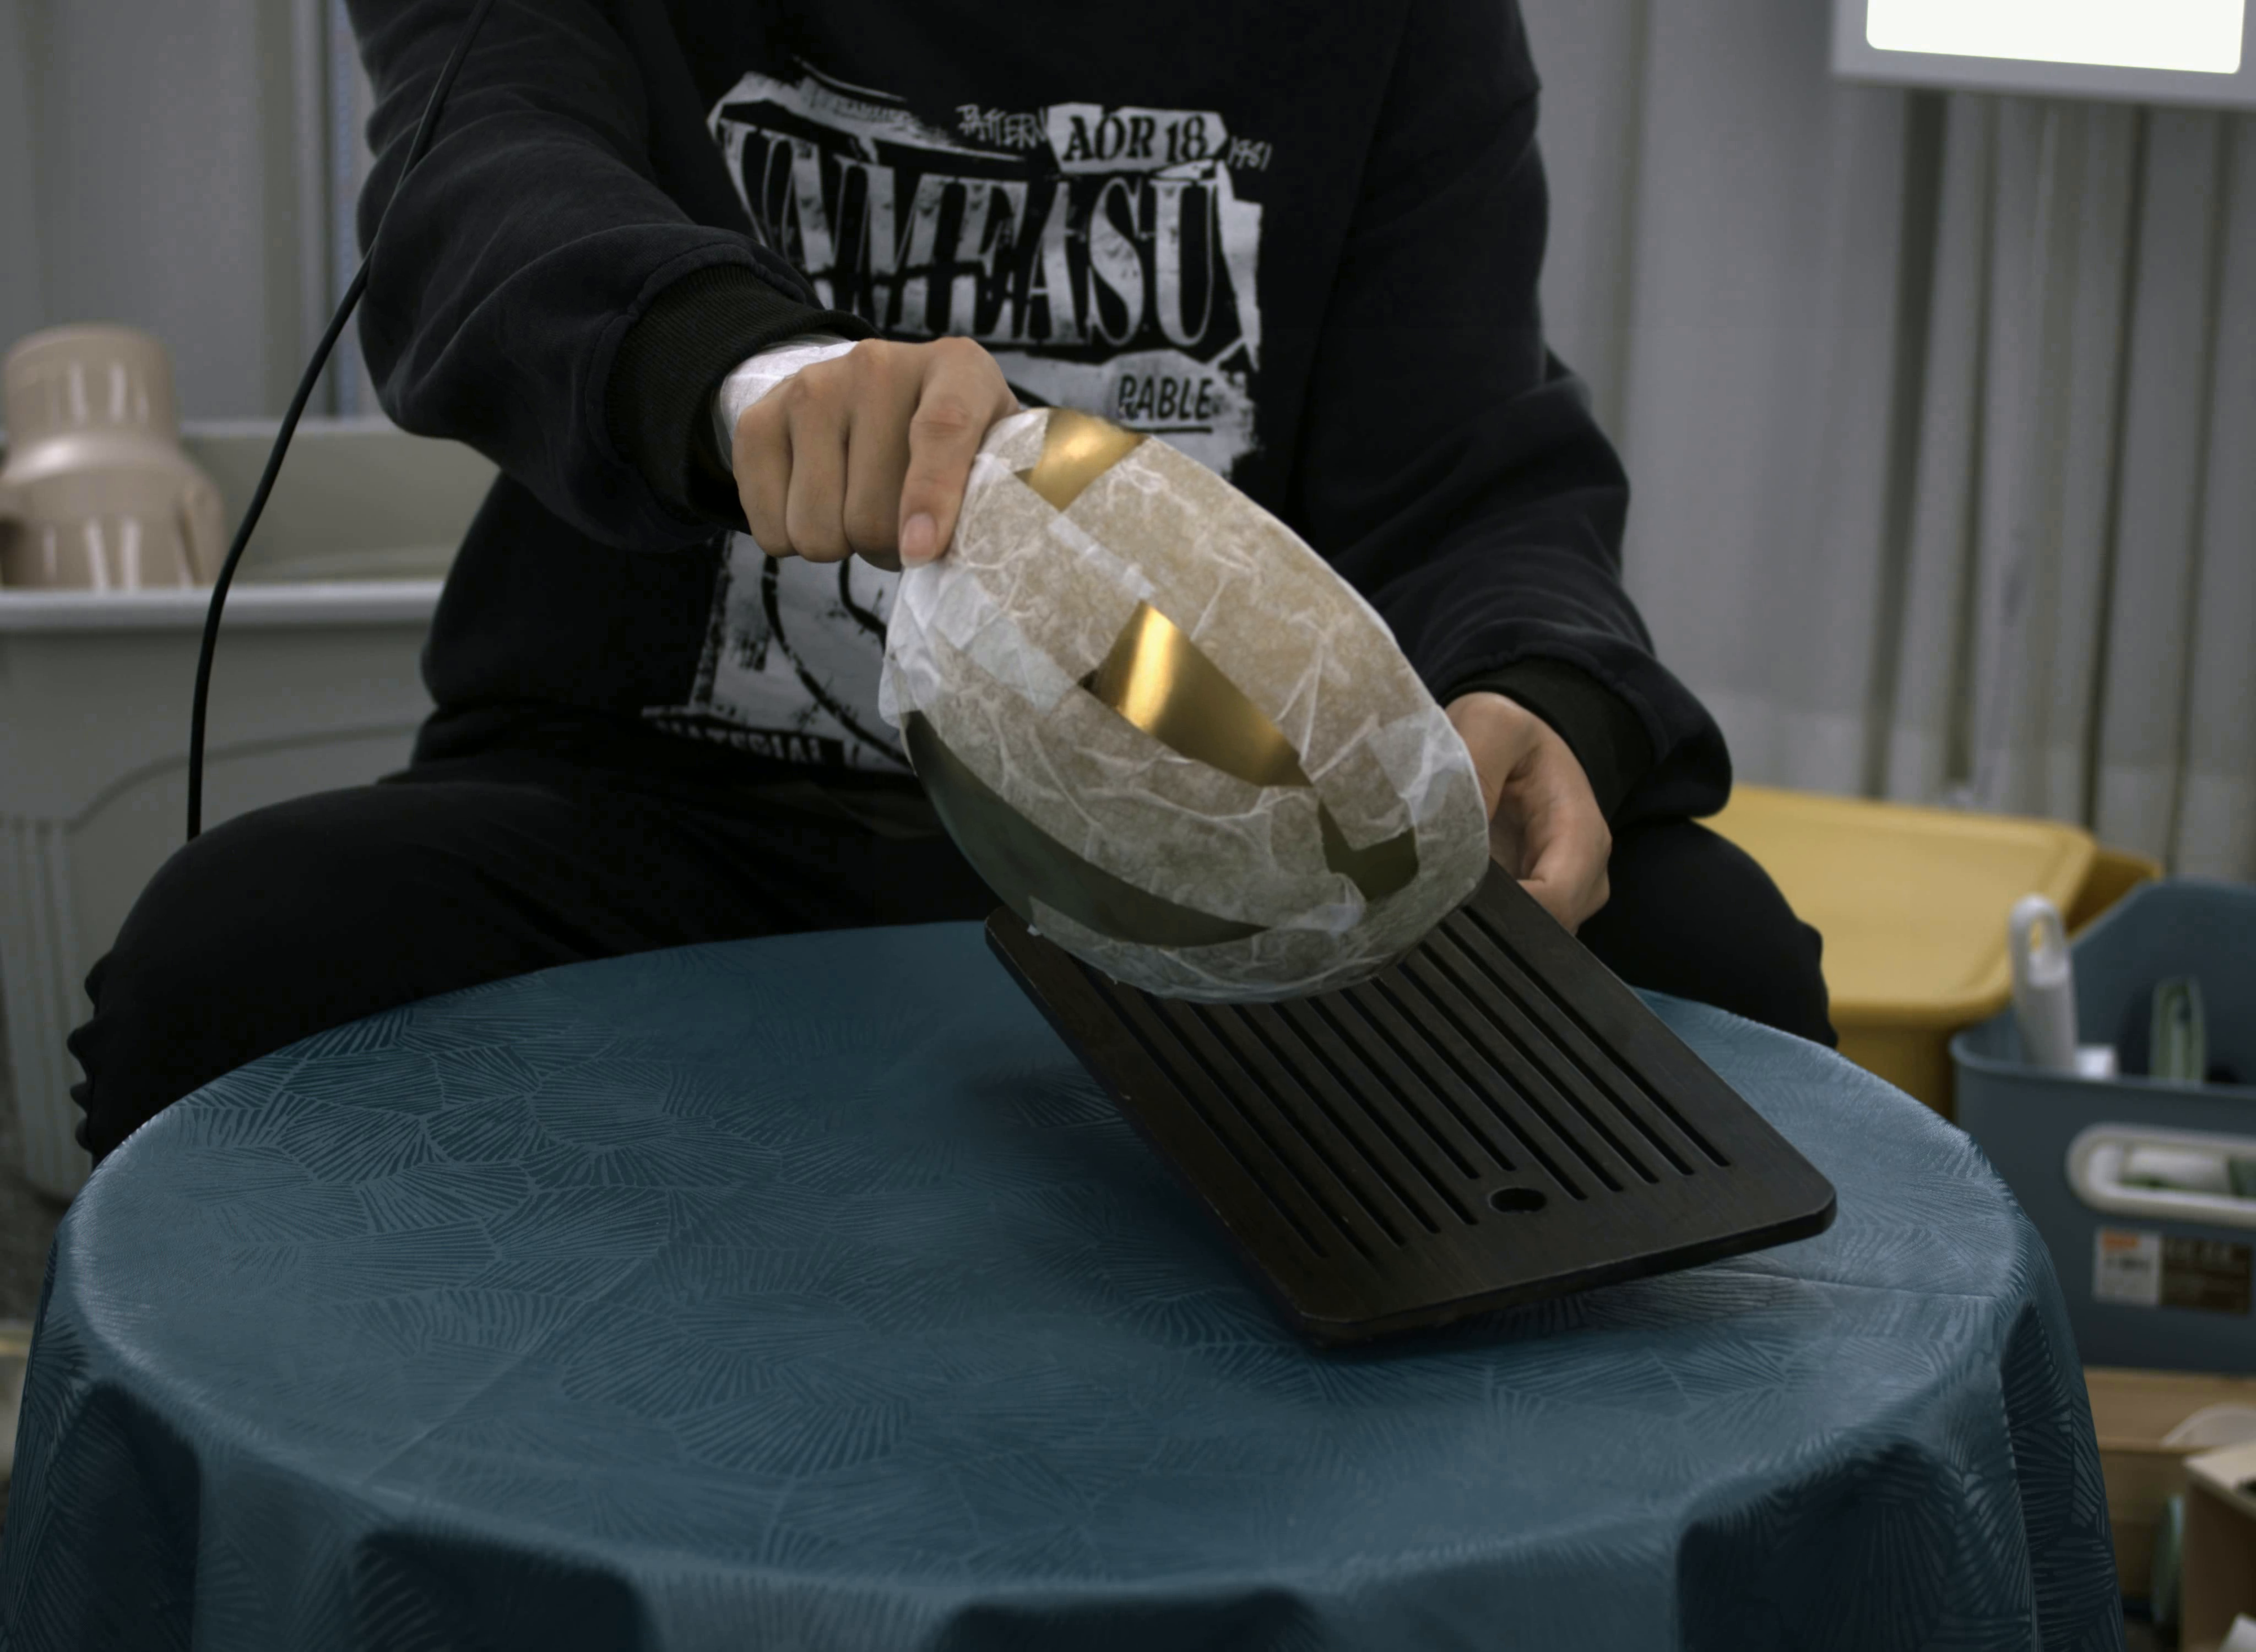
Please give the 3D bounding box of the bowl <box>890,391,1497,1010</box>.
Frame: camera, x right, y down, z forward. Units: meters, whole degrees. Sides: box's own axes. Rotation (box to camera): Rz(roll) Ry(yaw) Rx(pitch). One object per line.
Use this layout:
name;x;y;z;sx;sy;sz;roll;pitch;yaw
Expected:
bowl;0.001;-0.015;1.534;0.094;0.218;0.212;-46;39;-21

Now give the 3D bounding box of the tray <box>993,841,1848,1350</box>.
tray;0.083;0.076;1.634;0.170;0.019;0.302;-11;26;-17
